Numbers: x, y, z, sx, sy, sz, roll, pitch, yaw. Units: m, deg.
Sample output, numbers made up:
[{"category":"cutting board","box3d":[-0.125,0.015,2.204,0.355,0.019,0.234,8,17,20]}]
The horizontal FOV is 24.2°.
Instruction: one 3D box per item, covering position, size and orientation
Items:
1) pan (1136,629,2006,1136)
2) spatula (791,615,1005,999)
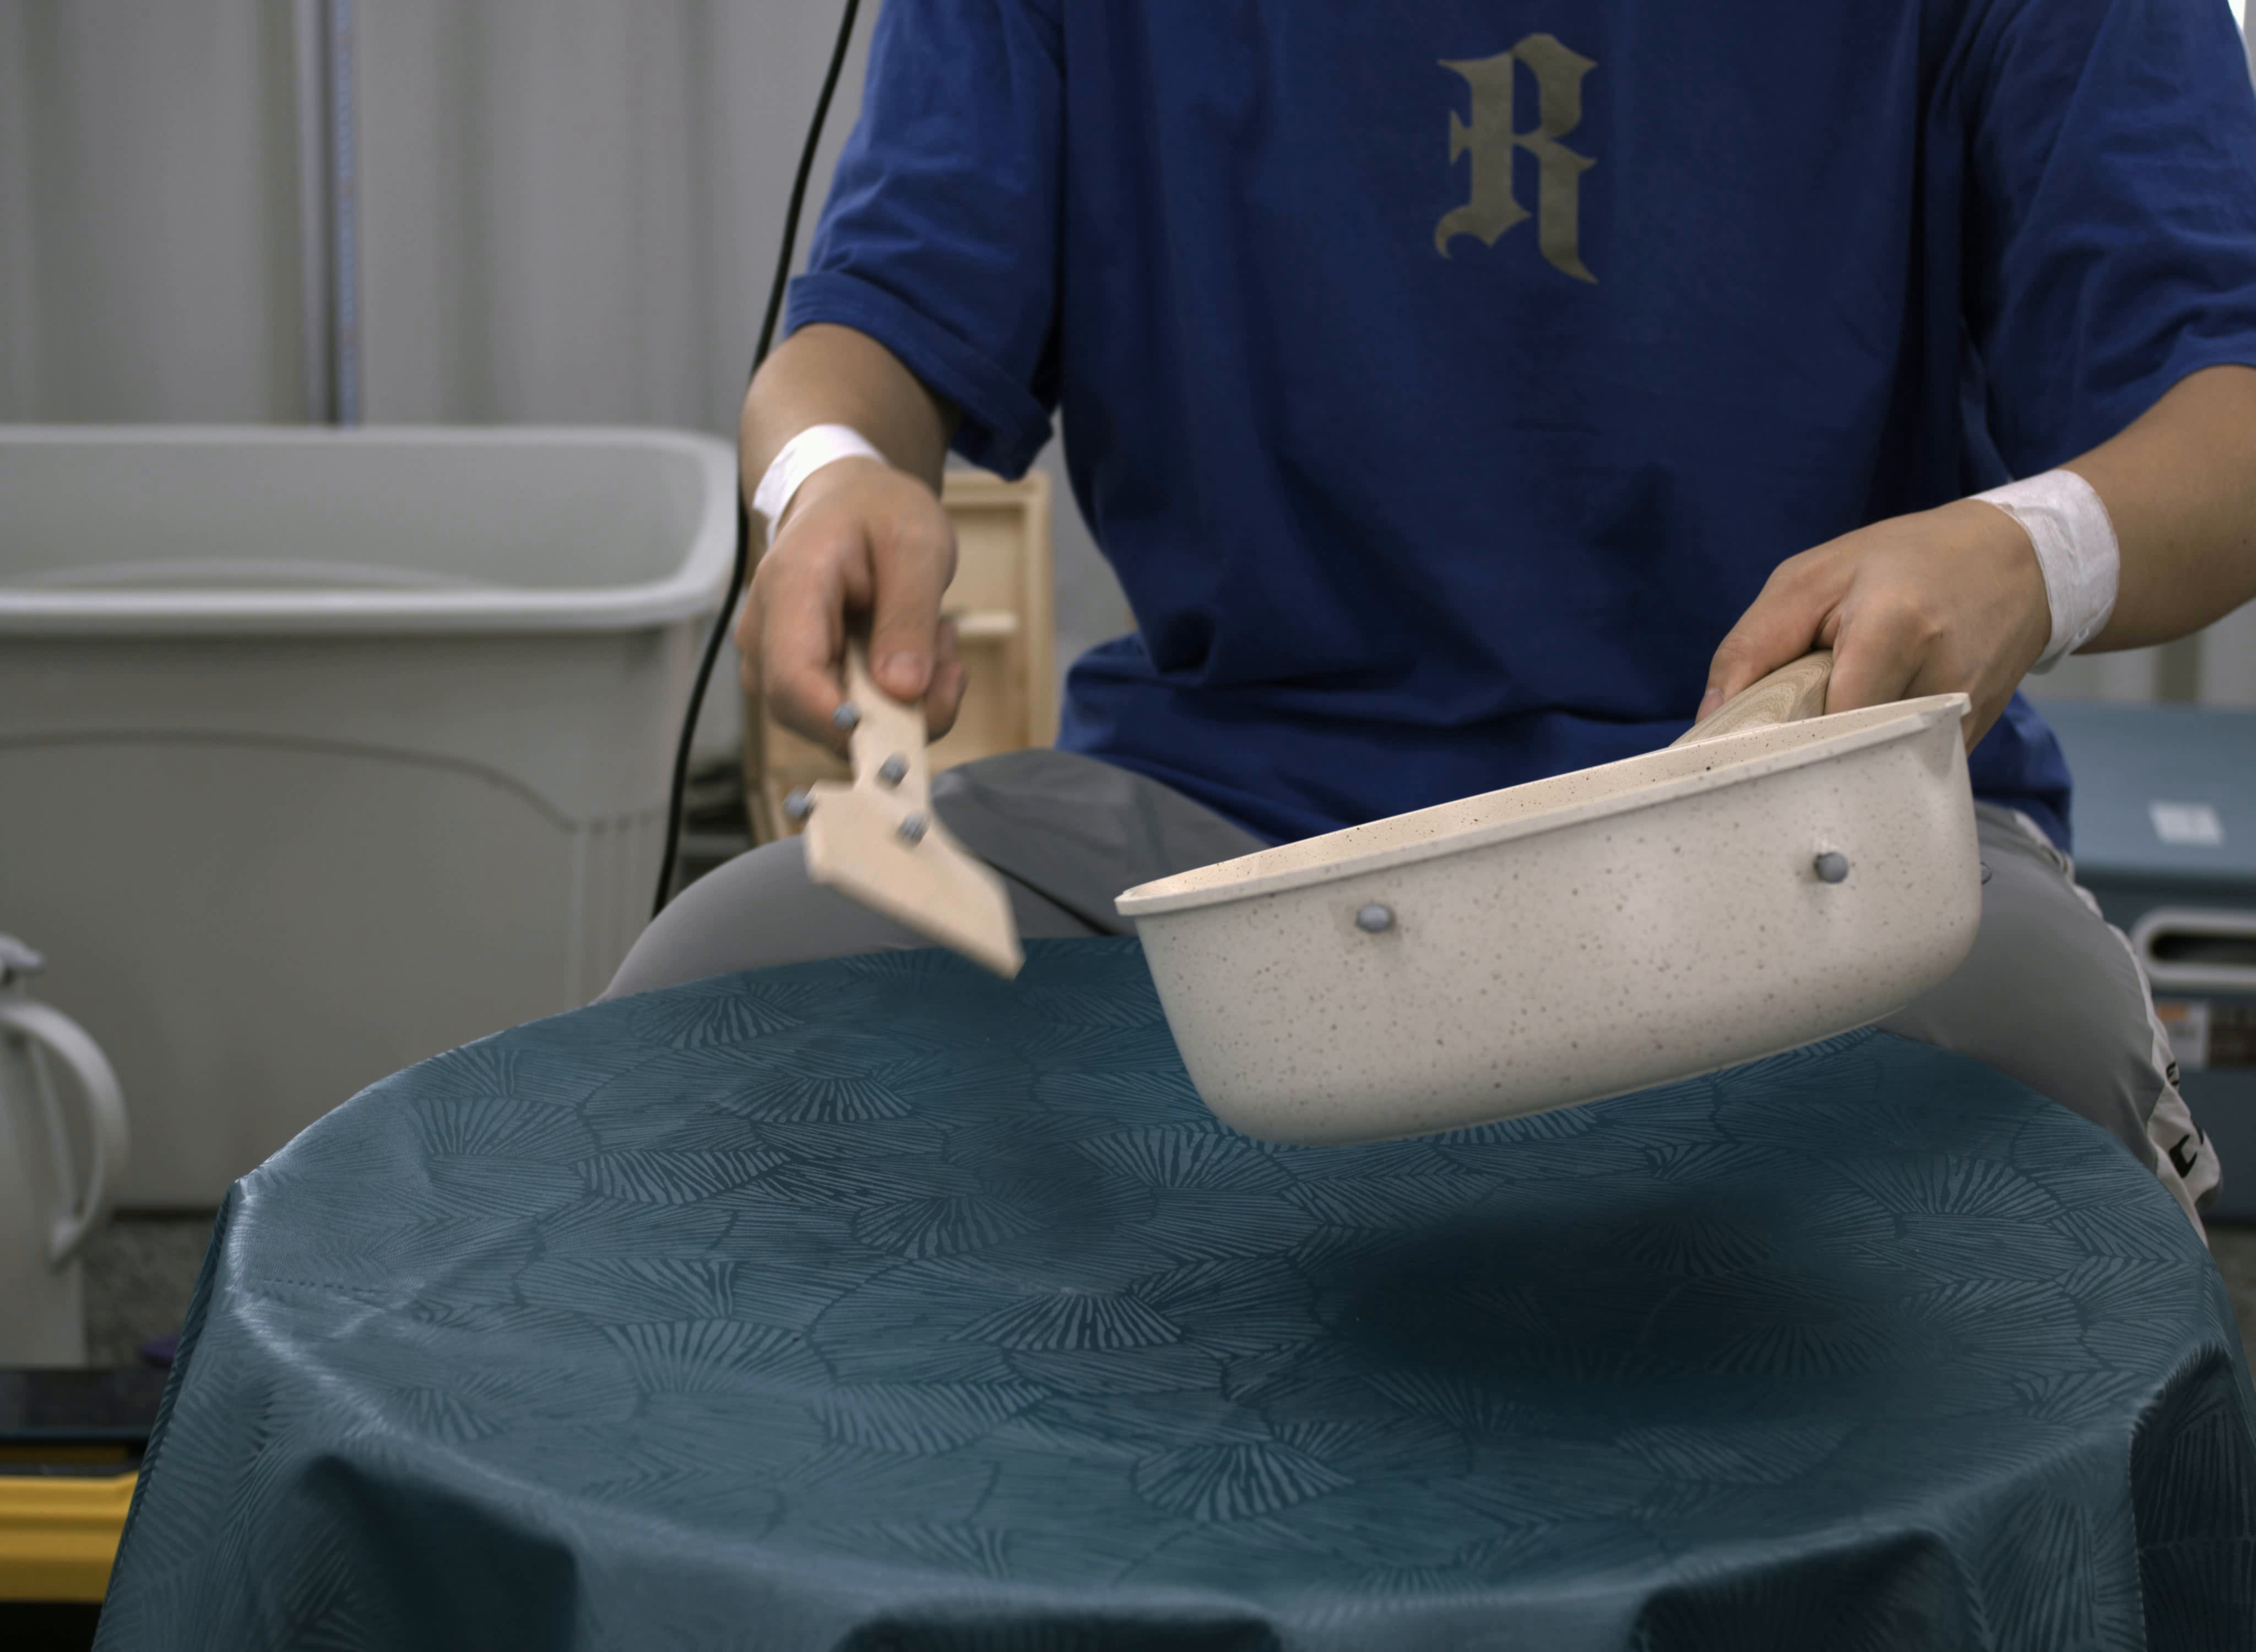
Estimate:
[{"category":"pan","box3d":[0.171,0.008,1.586,0.261,0.102,0.437,-15,0,27]},{"category":"spatula","box3d":[-0.079,-0.015,1.709,0.072,0.011,0.290,28,17,-15]}]
